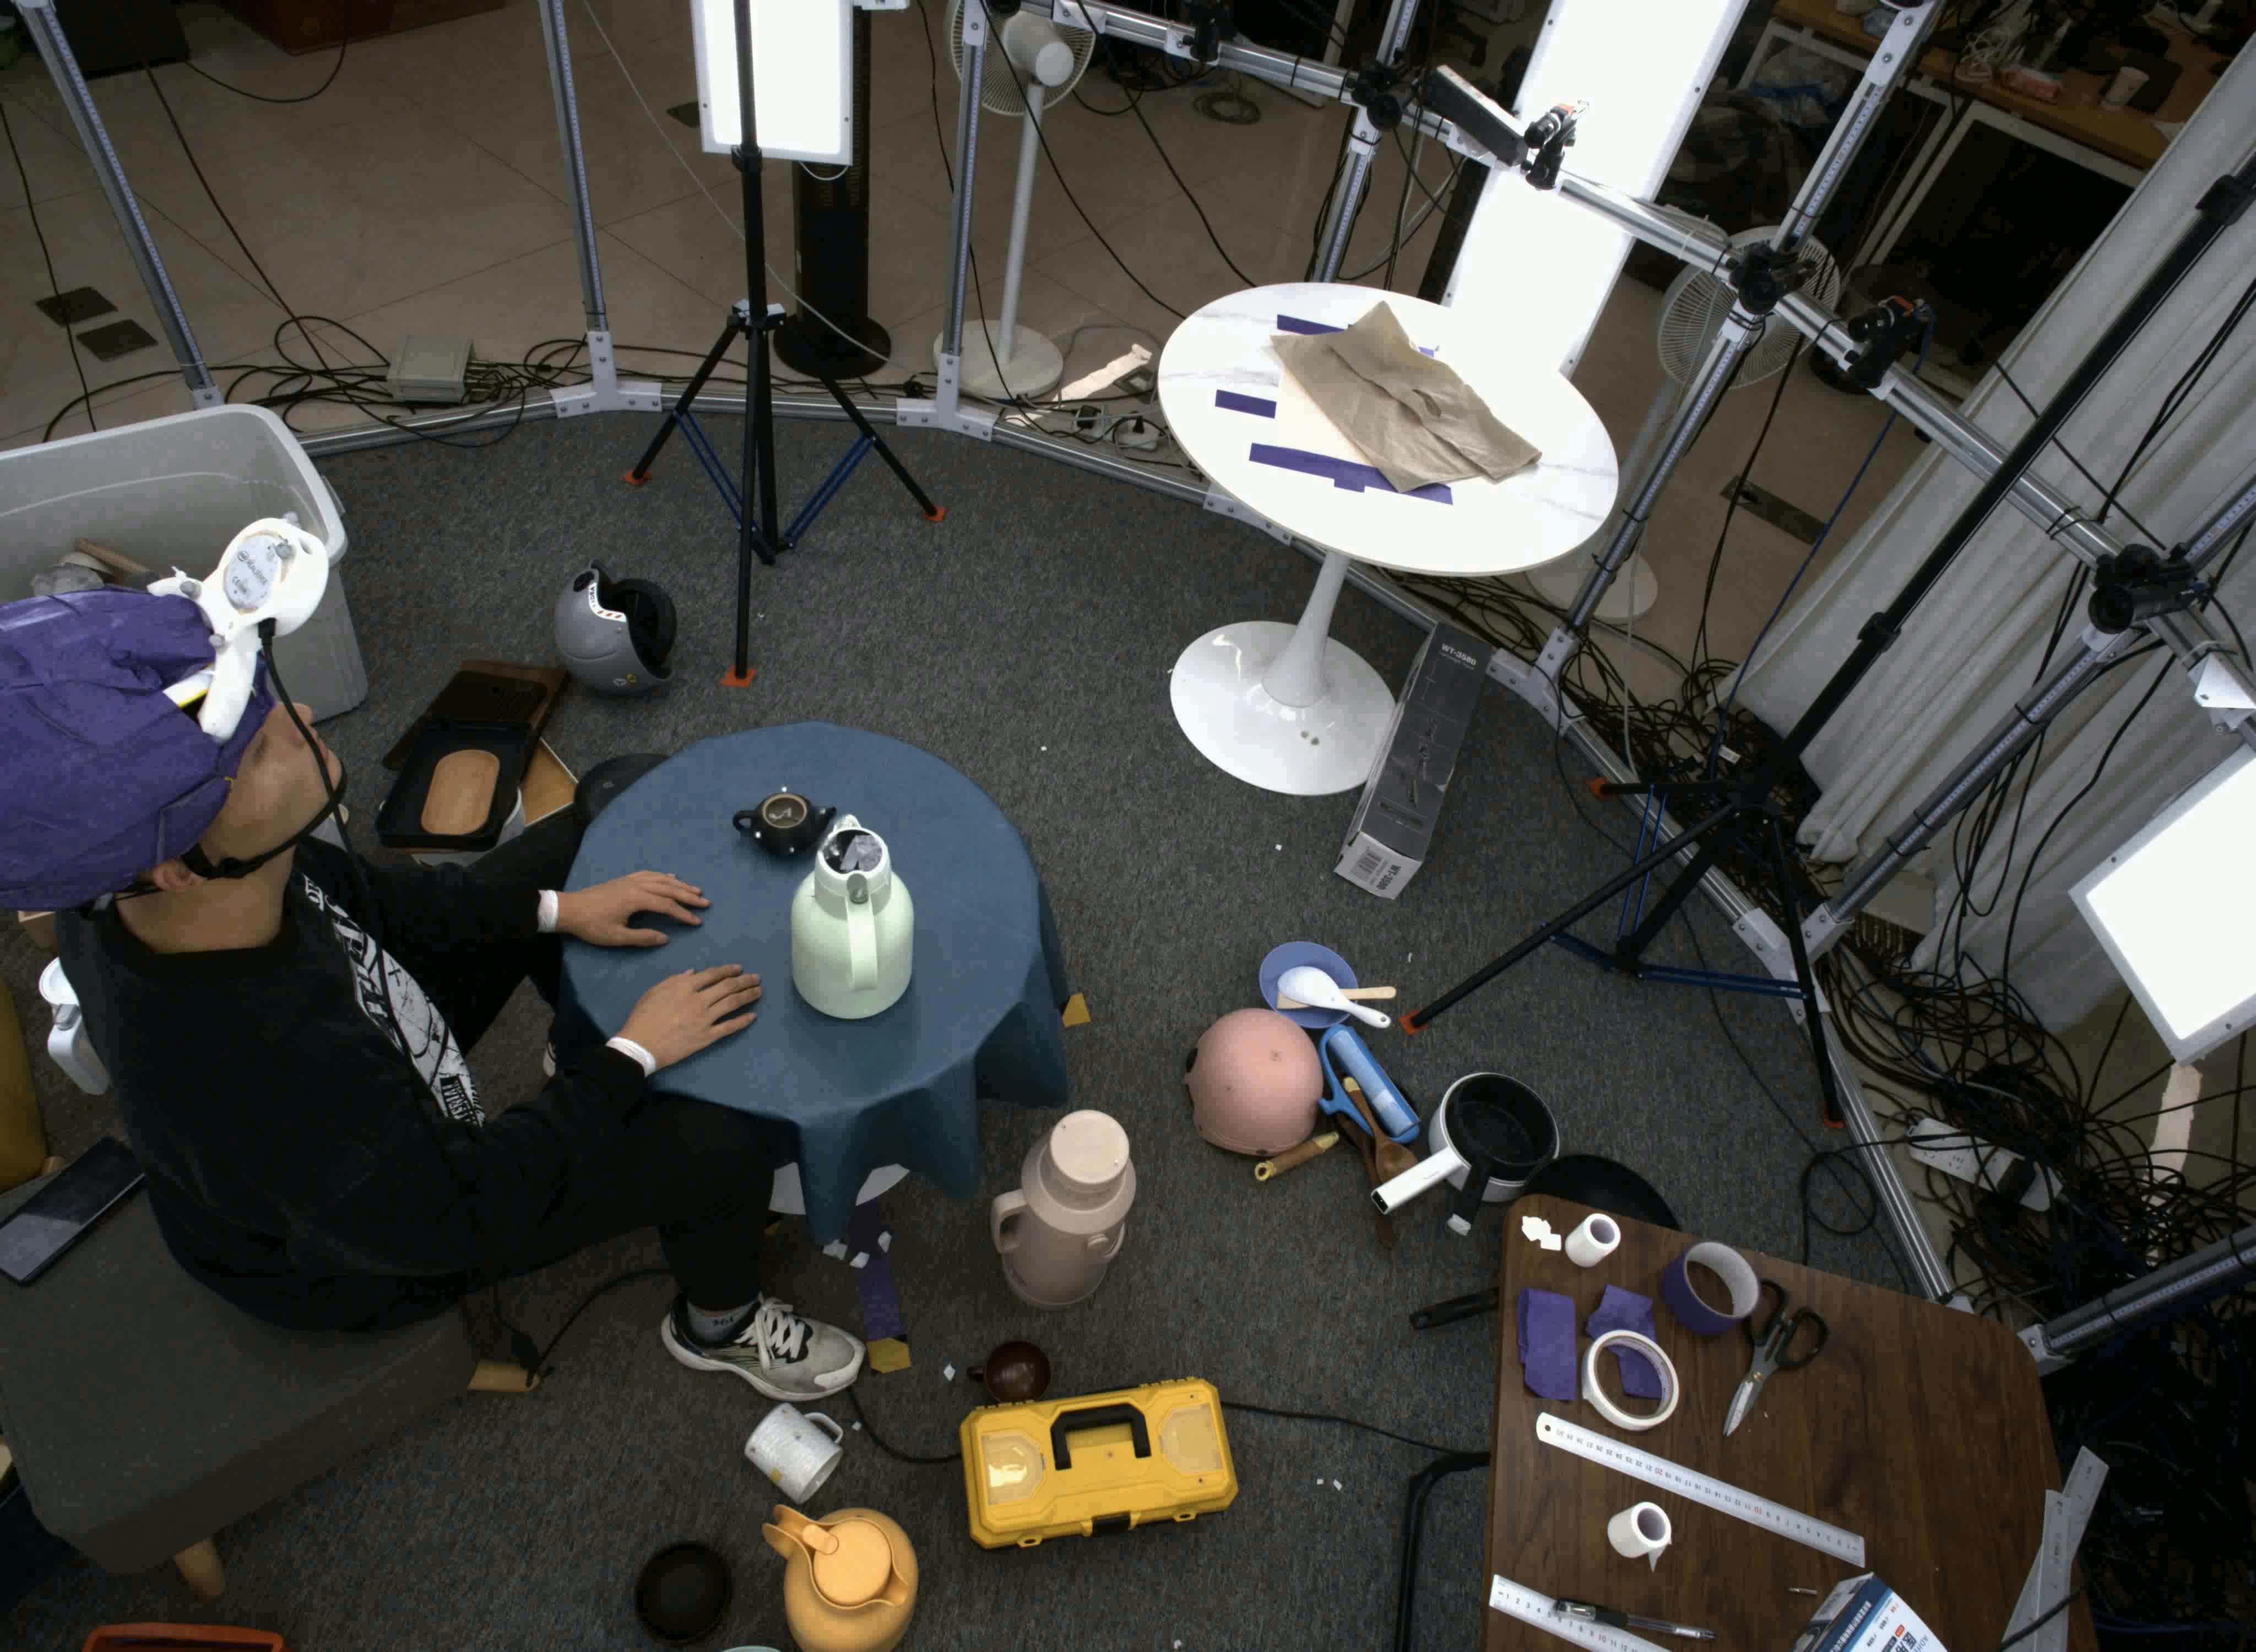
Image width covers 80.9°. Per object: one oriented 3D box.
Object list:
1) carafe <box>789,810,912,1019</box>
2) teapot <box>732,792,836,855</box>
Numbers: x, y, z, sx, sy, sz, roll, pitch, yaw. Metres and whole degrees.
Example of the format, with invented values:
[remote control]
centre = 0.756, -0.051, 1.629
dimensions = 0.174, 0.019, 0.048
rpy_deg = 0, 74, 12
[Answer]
[carafe]
centre = -0.318, 0.114, 1.502
dimensions = 0.145, 0.261, 0.183
rpy_deg = -6, 57, -18
[teapot]
centre = -0.447, -0.006, 1.685
dimensions = 0.133, 0.054, 0.089
rpy_deg = -2, 52, -16
